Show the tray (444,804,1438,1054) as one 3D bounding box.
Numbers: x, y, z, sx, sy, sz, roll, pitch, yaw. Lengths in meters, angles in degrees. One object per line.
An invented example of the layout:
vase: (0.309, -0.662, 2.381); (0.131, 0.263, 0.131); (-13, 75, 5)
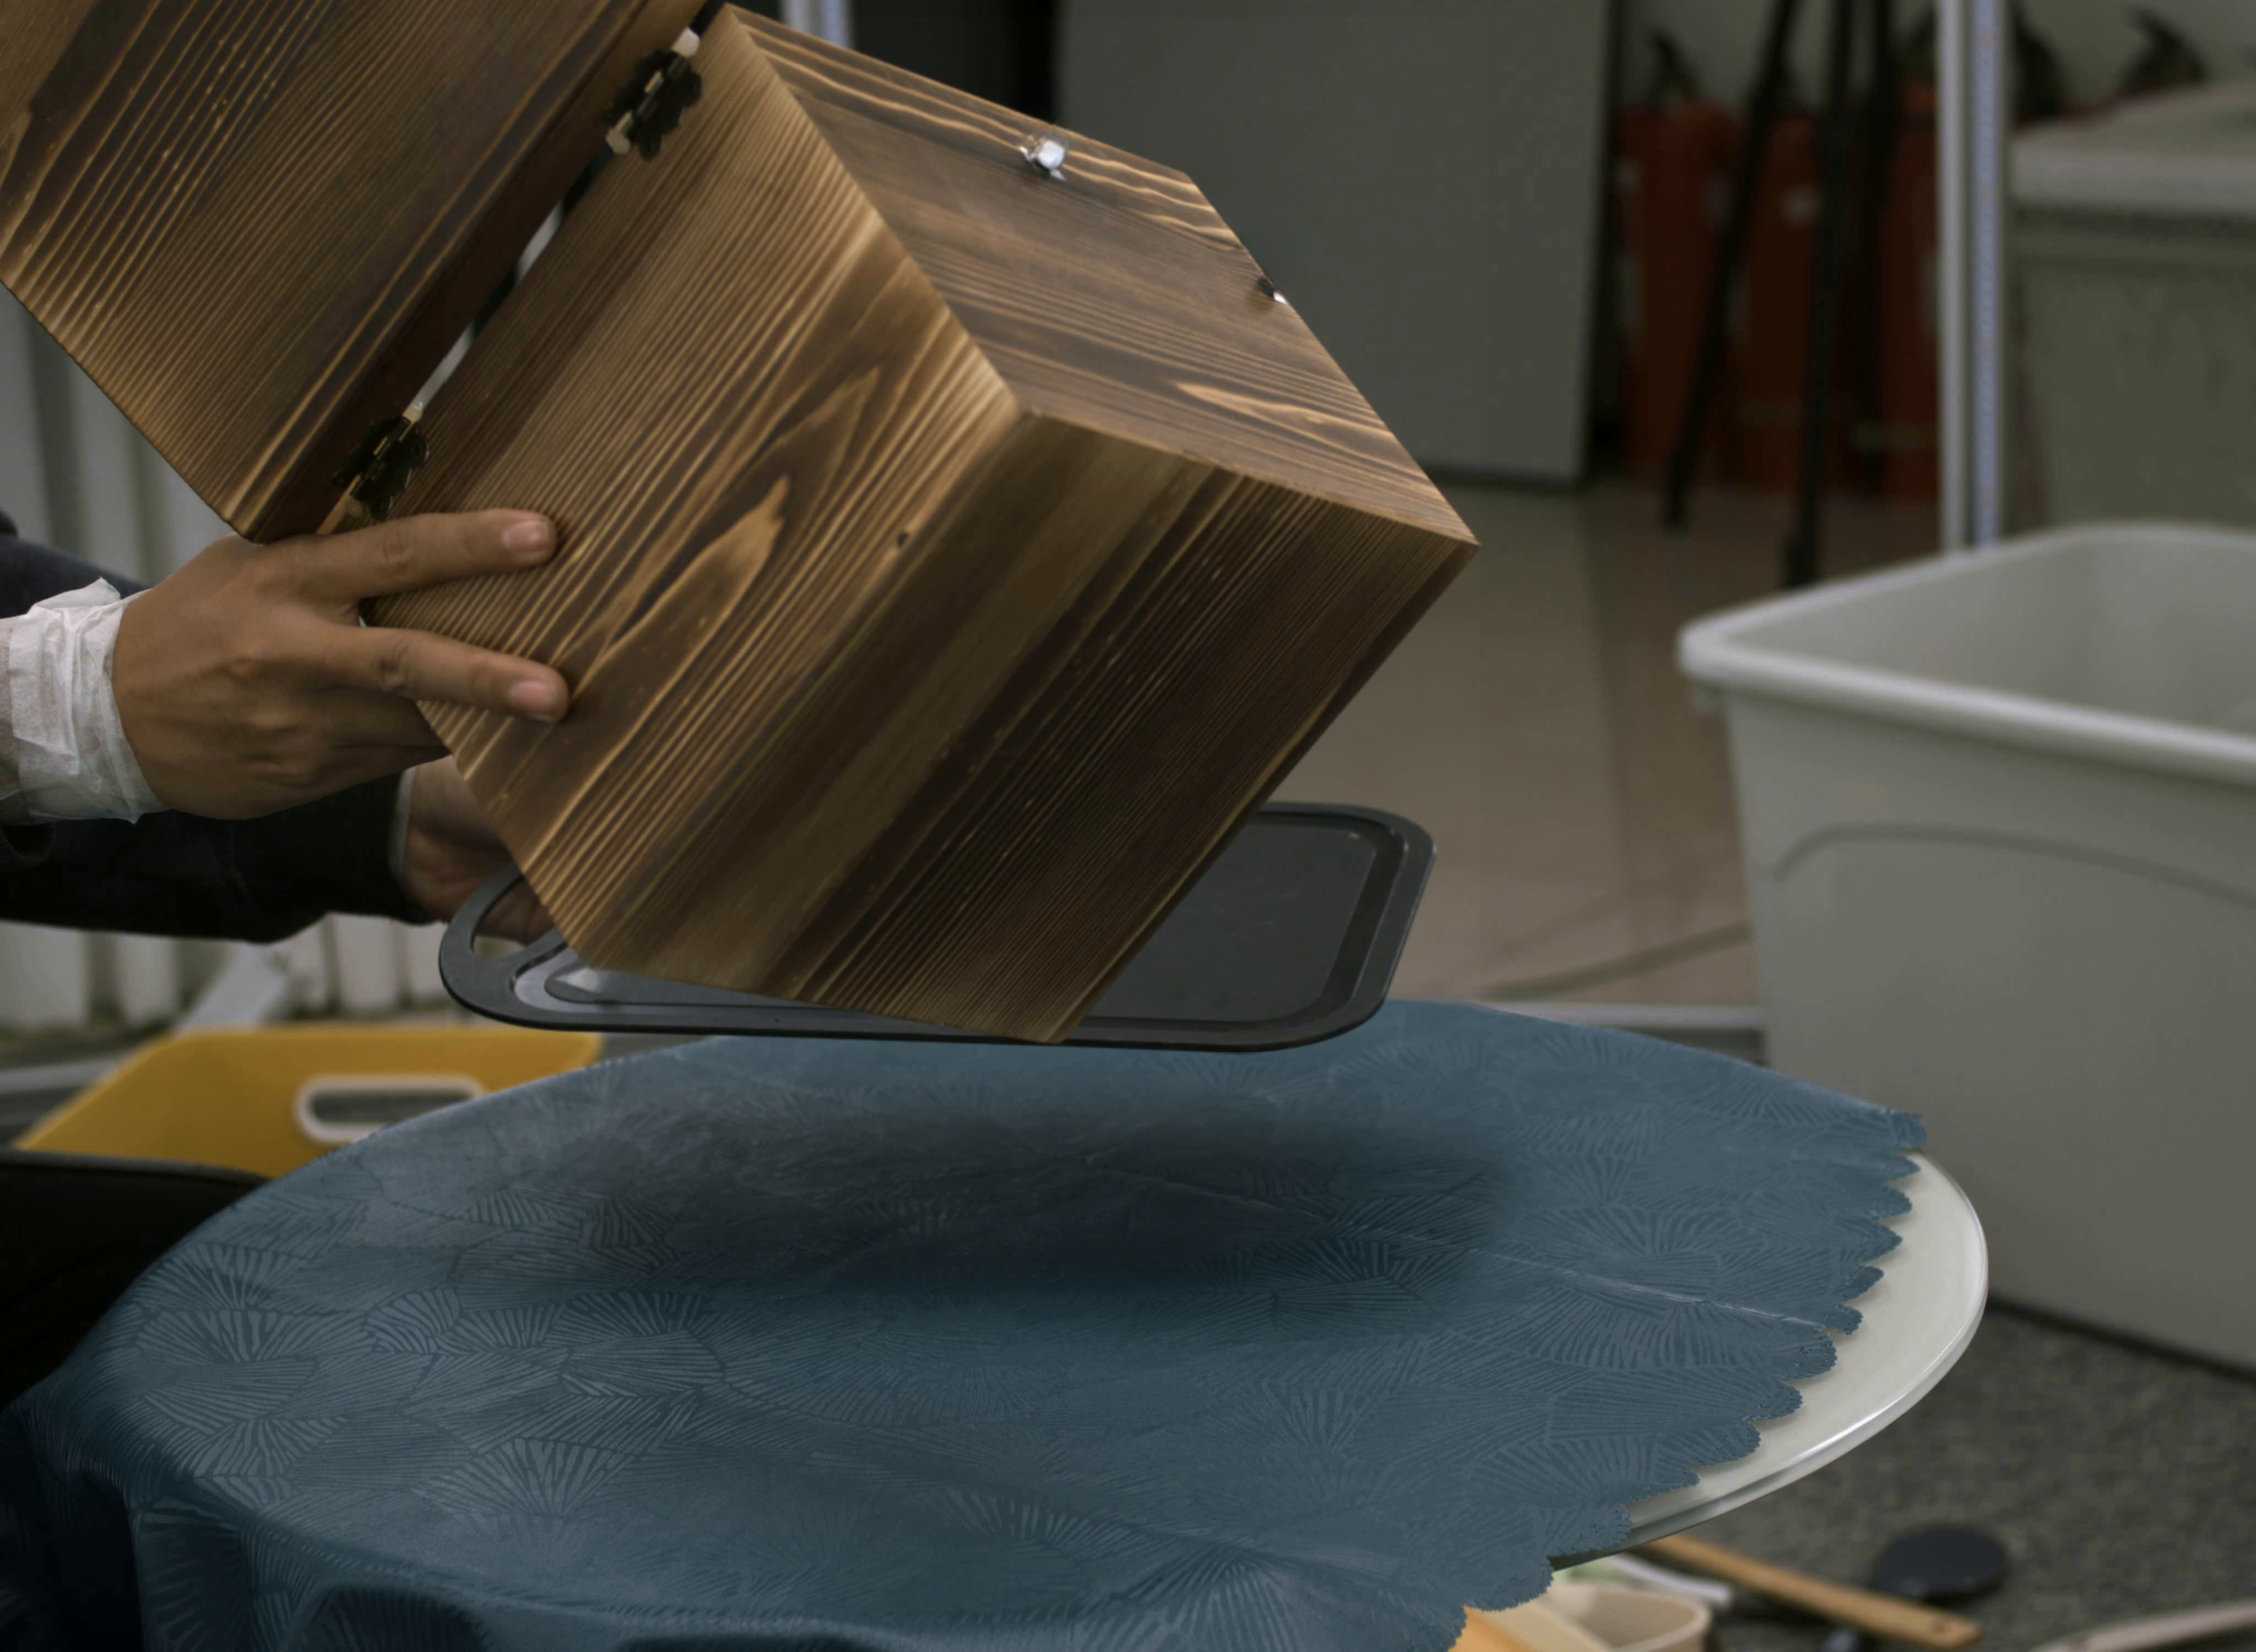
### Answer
tray: (-0.064, 0.028, 1.779); (0.323, 0.010, 0.210); (1, 21, 12)

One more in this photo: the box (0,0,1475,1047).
box: (-0.140, -0.160, 1.509); (0.315, 0.210, 0.380); (13, 35, -49)
